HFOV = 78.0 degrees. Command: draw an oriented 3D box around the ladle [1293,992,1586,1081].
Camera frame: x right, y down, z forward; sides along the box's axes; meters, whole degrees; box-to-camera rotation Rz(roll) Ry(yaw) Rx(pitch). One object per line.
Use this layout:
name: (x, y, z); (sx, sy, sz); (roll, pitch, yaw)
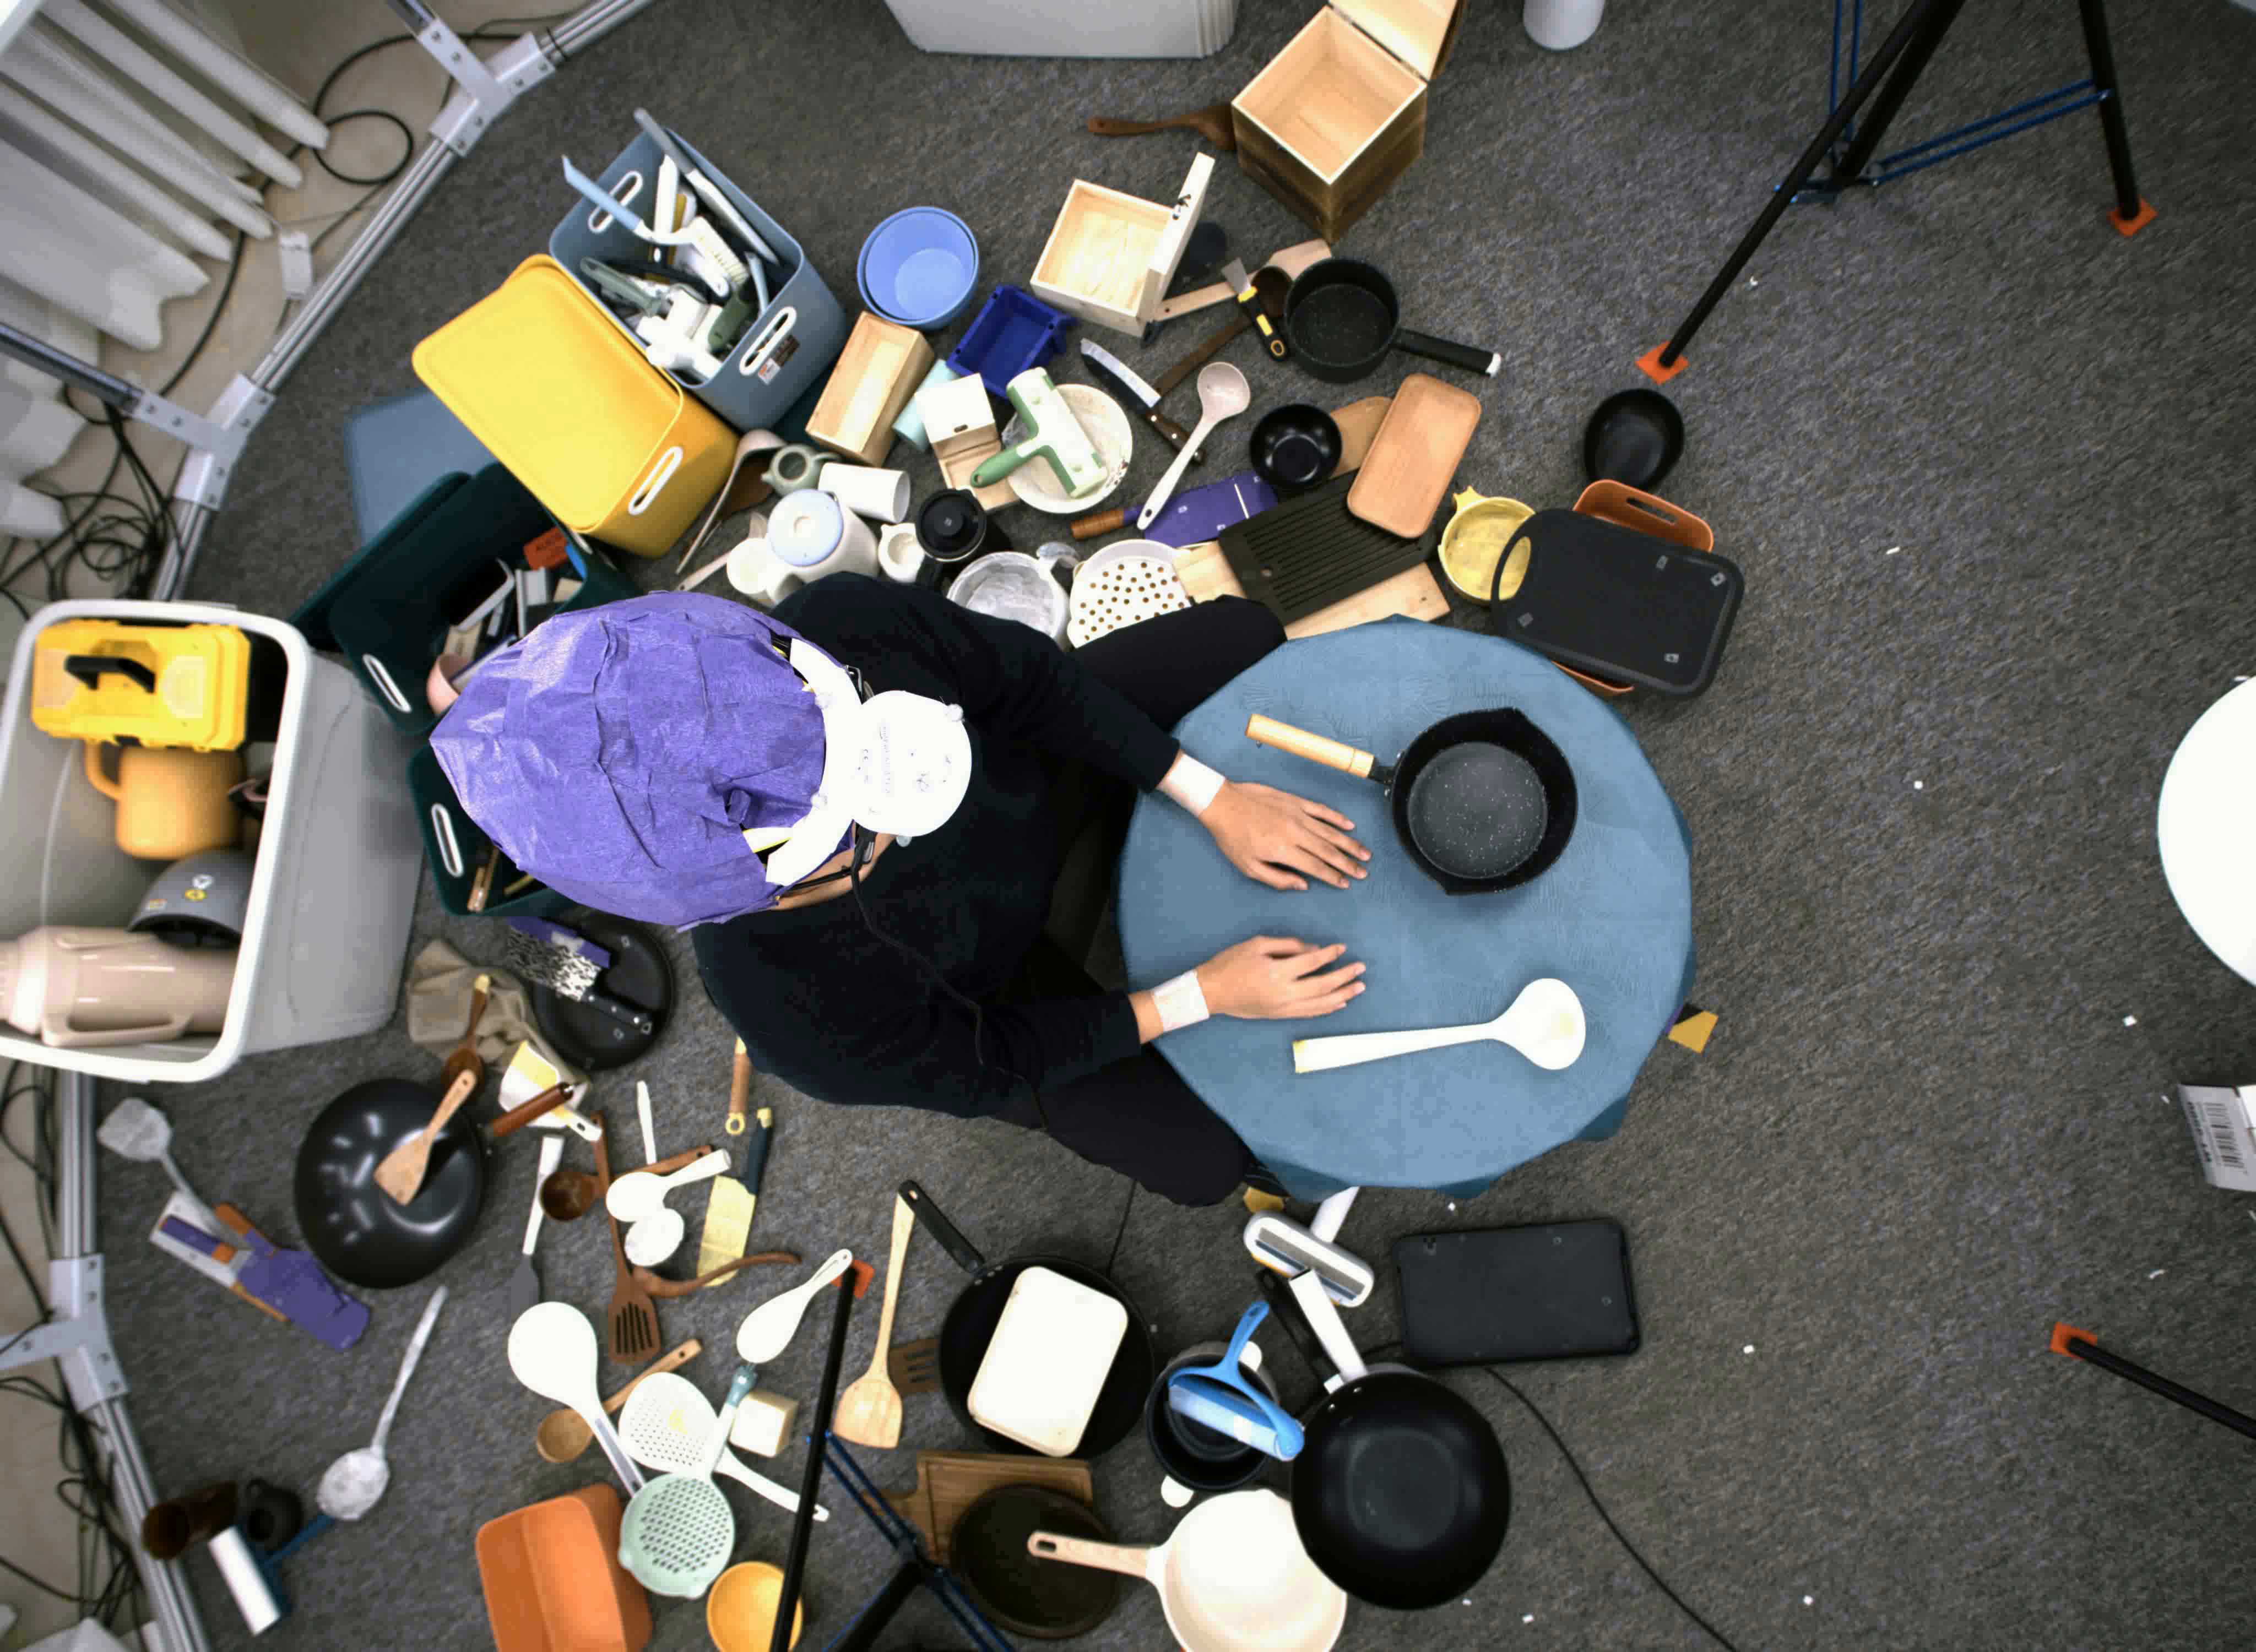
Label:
ladle: (0.314, 0.223, 1.411); (0.294, 0.069, 0.090); (-8, 90, 11)

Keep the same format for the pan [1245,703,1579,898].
pan: (0.284, -0.046, 1.409); (0.343, 0.108, 0.207); (17, 90, 10)
